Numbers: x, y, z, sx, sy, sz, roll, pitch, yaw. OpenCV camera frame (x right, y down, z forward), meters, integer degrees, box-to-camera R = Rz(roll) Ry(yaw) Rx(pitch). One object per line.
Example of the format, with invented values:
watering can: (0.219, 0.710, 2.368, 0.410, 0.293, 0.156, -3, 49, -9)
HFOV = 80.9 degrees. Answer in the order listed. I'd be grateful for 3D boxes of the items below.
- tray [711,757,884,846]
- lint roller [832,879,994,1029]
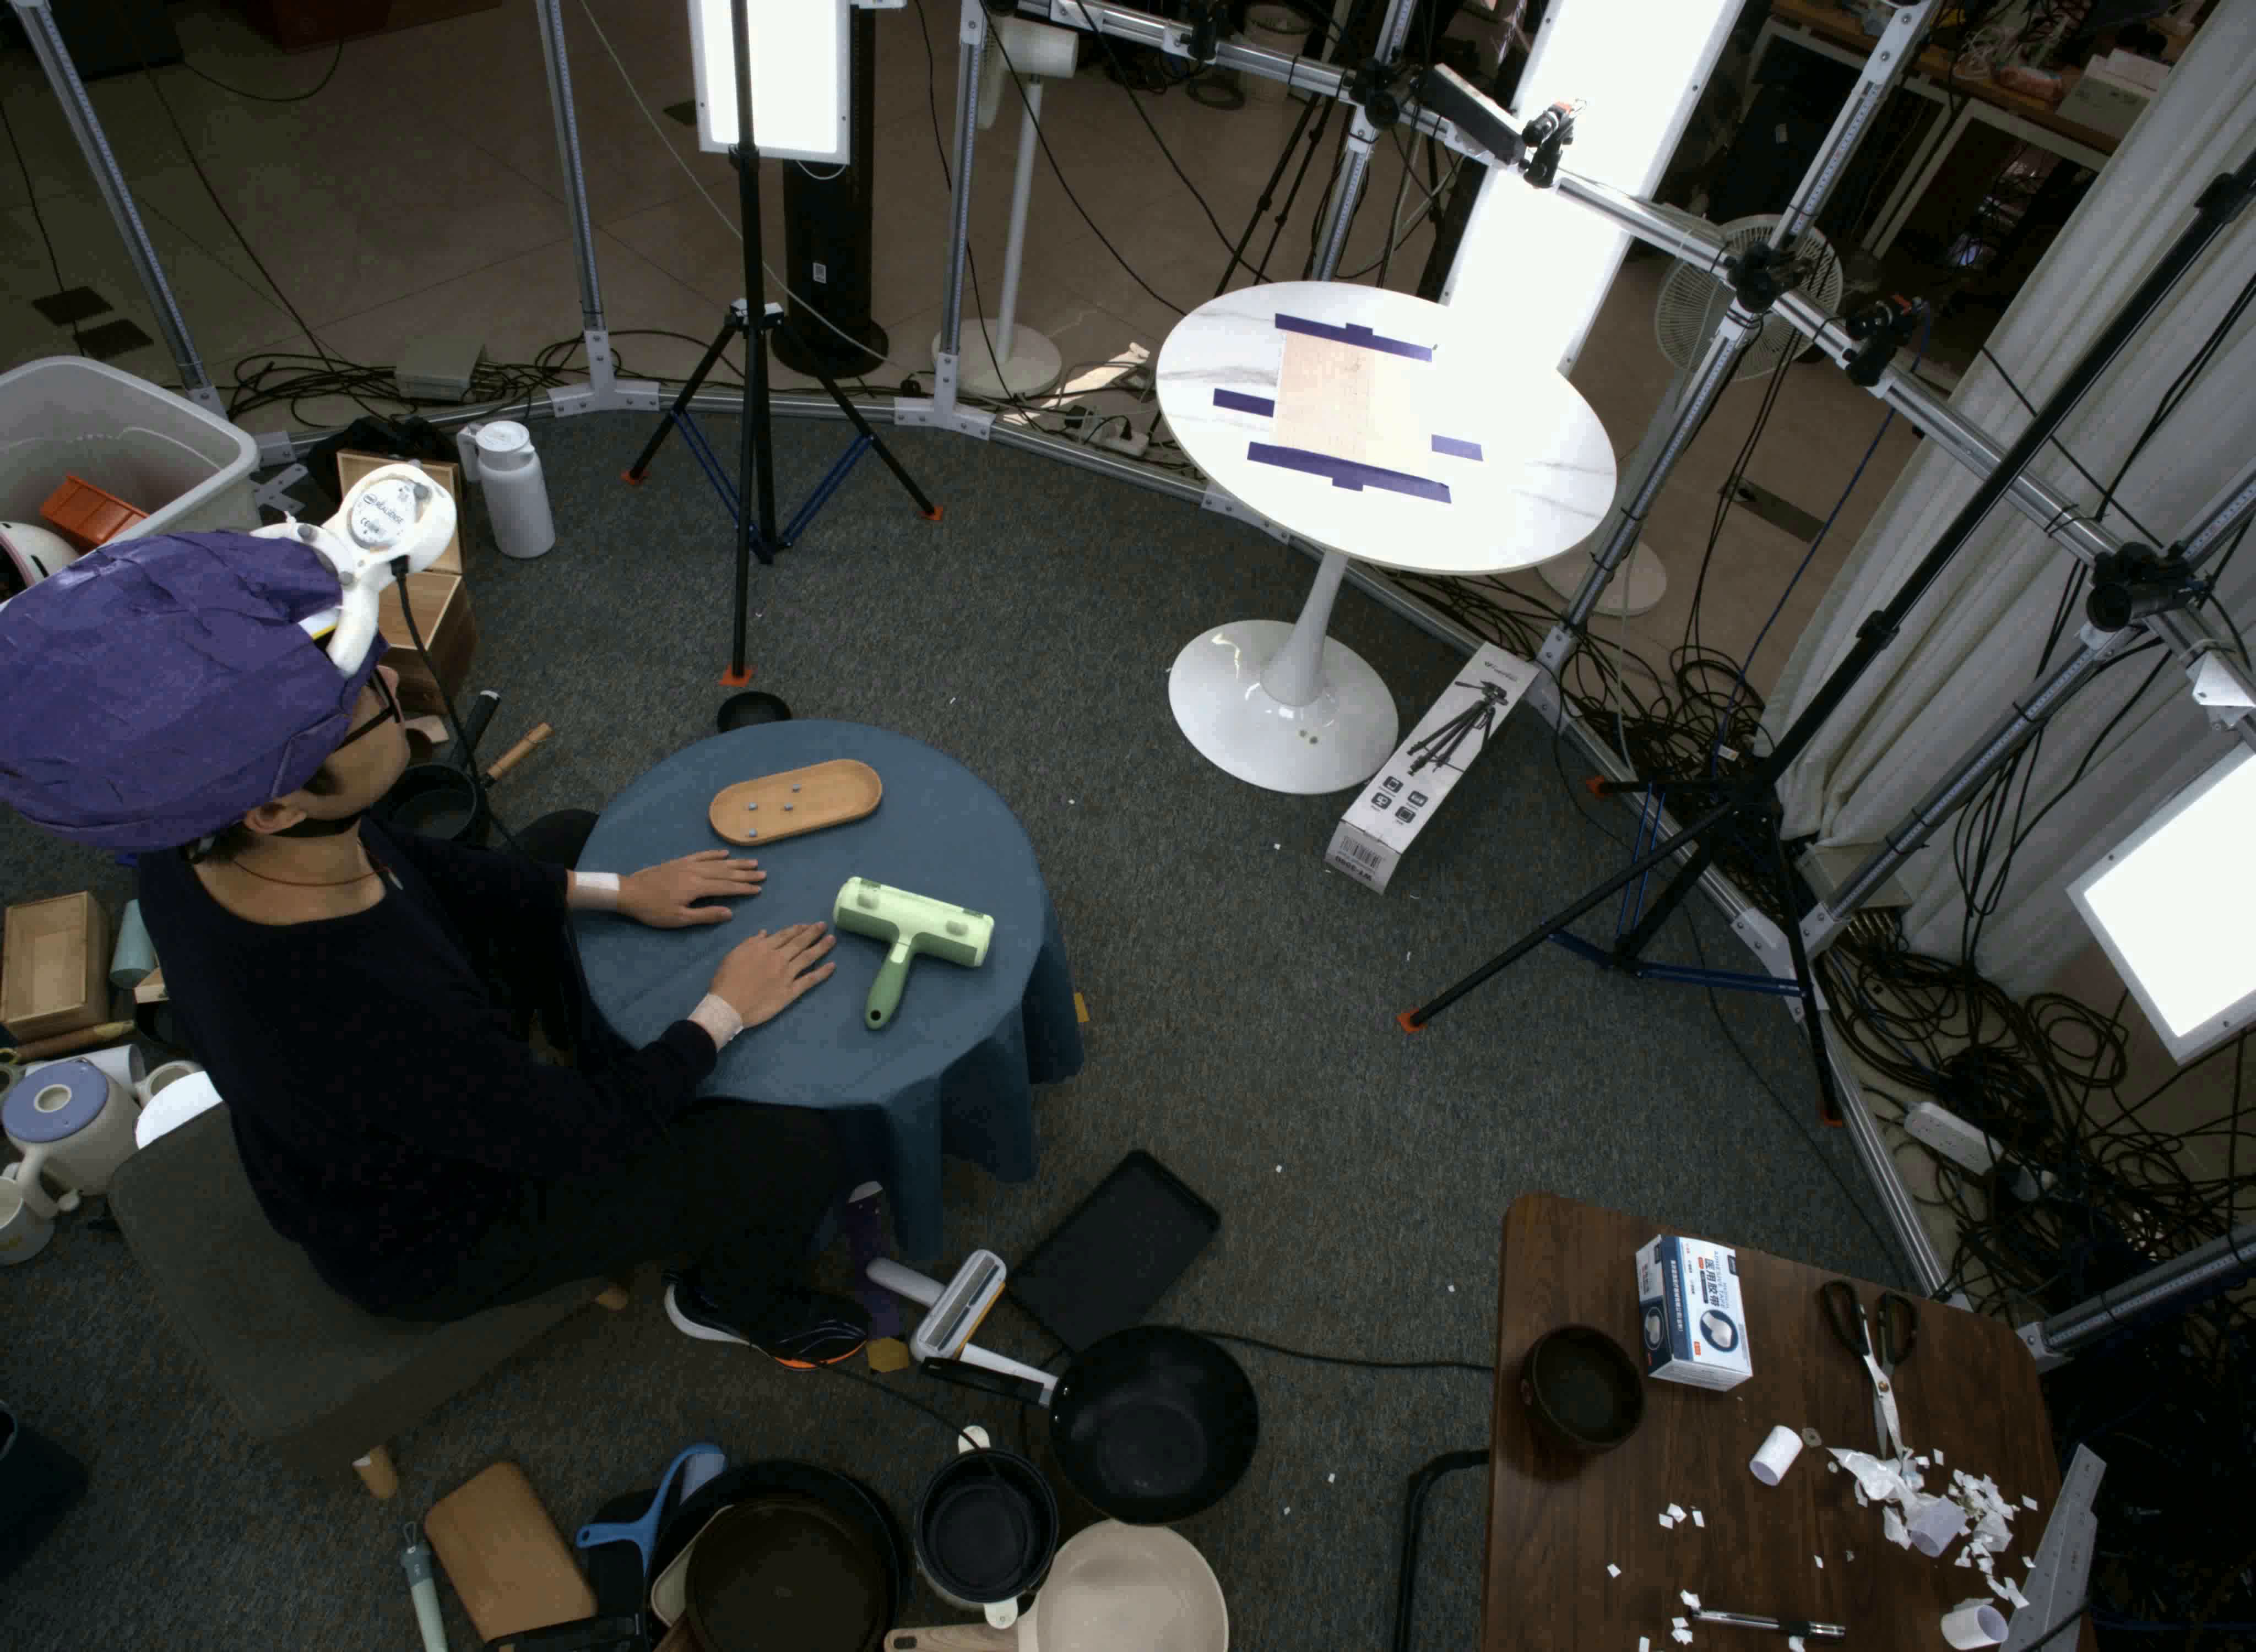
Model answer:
tray: (-0.438, -0.034, 1.725, 0.232, 0.020, 0.099, -16, 60, -27)
lint roller: (-0.278, 0.153, 1.582, 0.197, 0.084, 0.181, 16, 45, -2)
